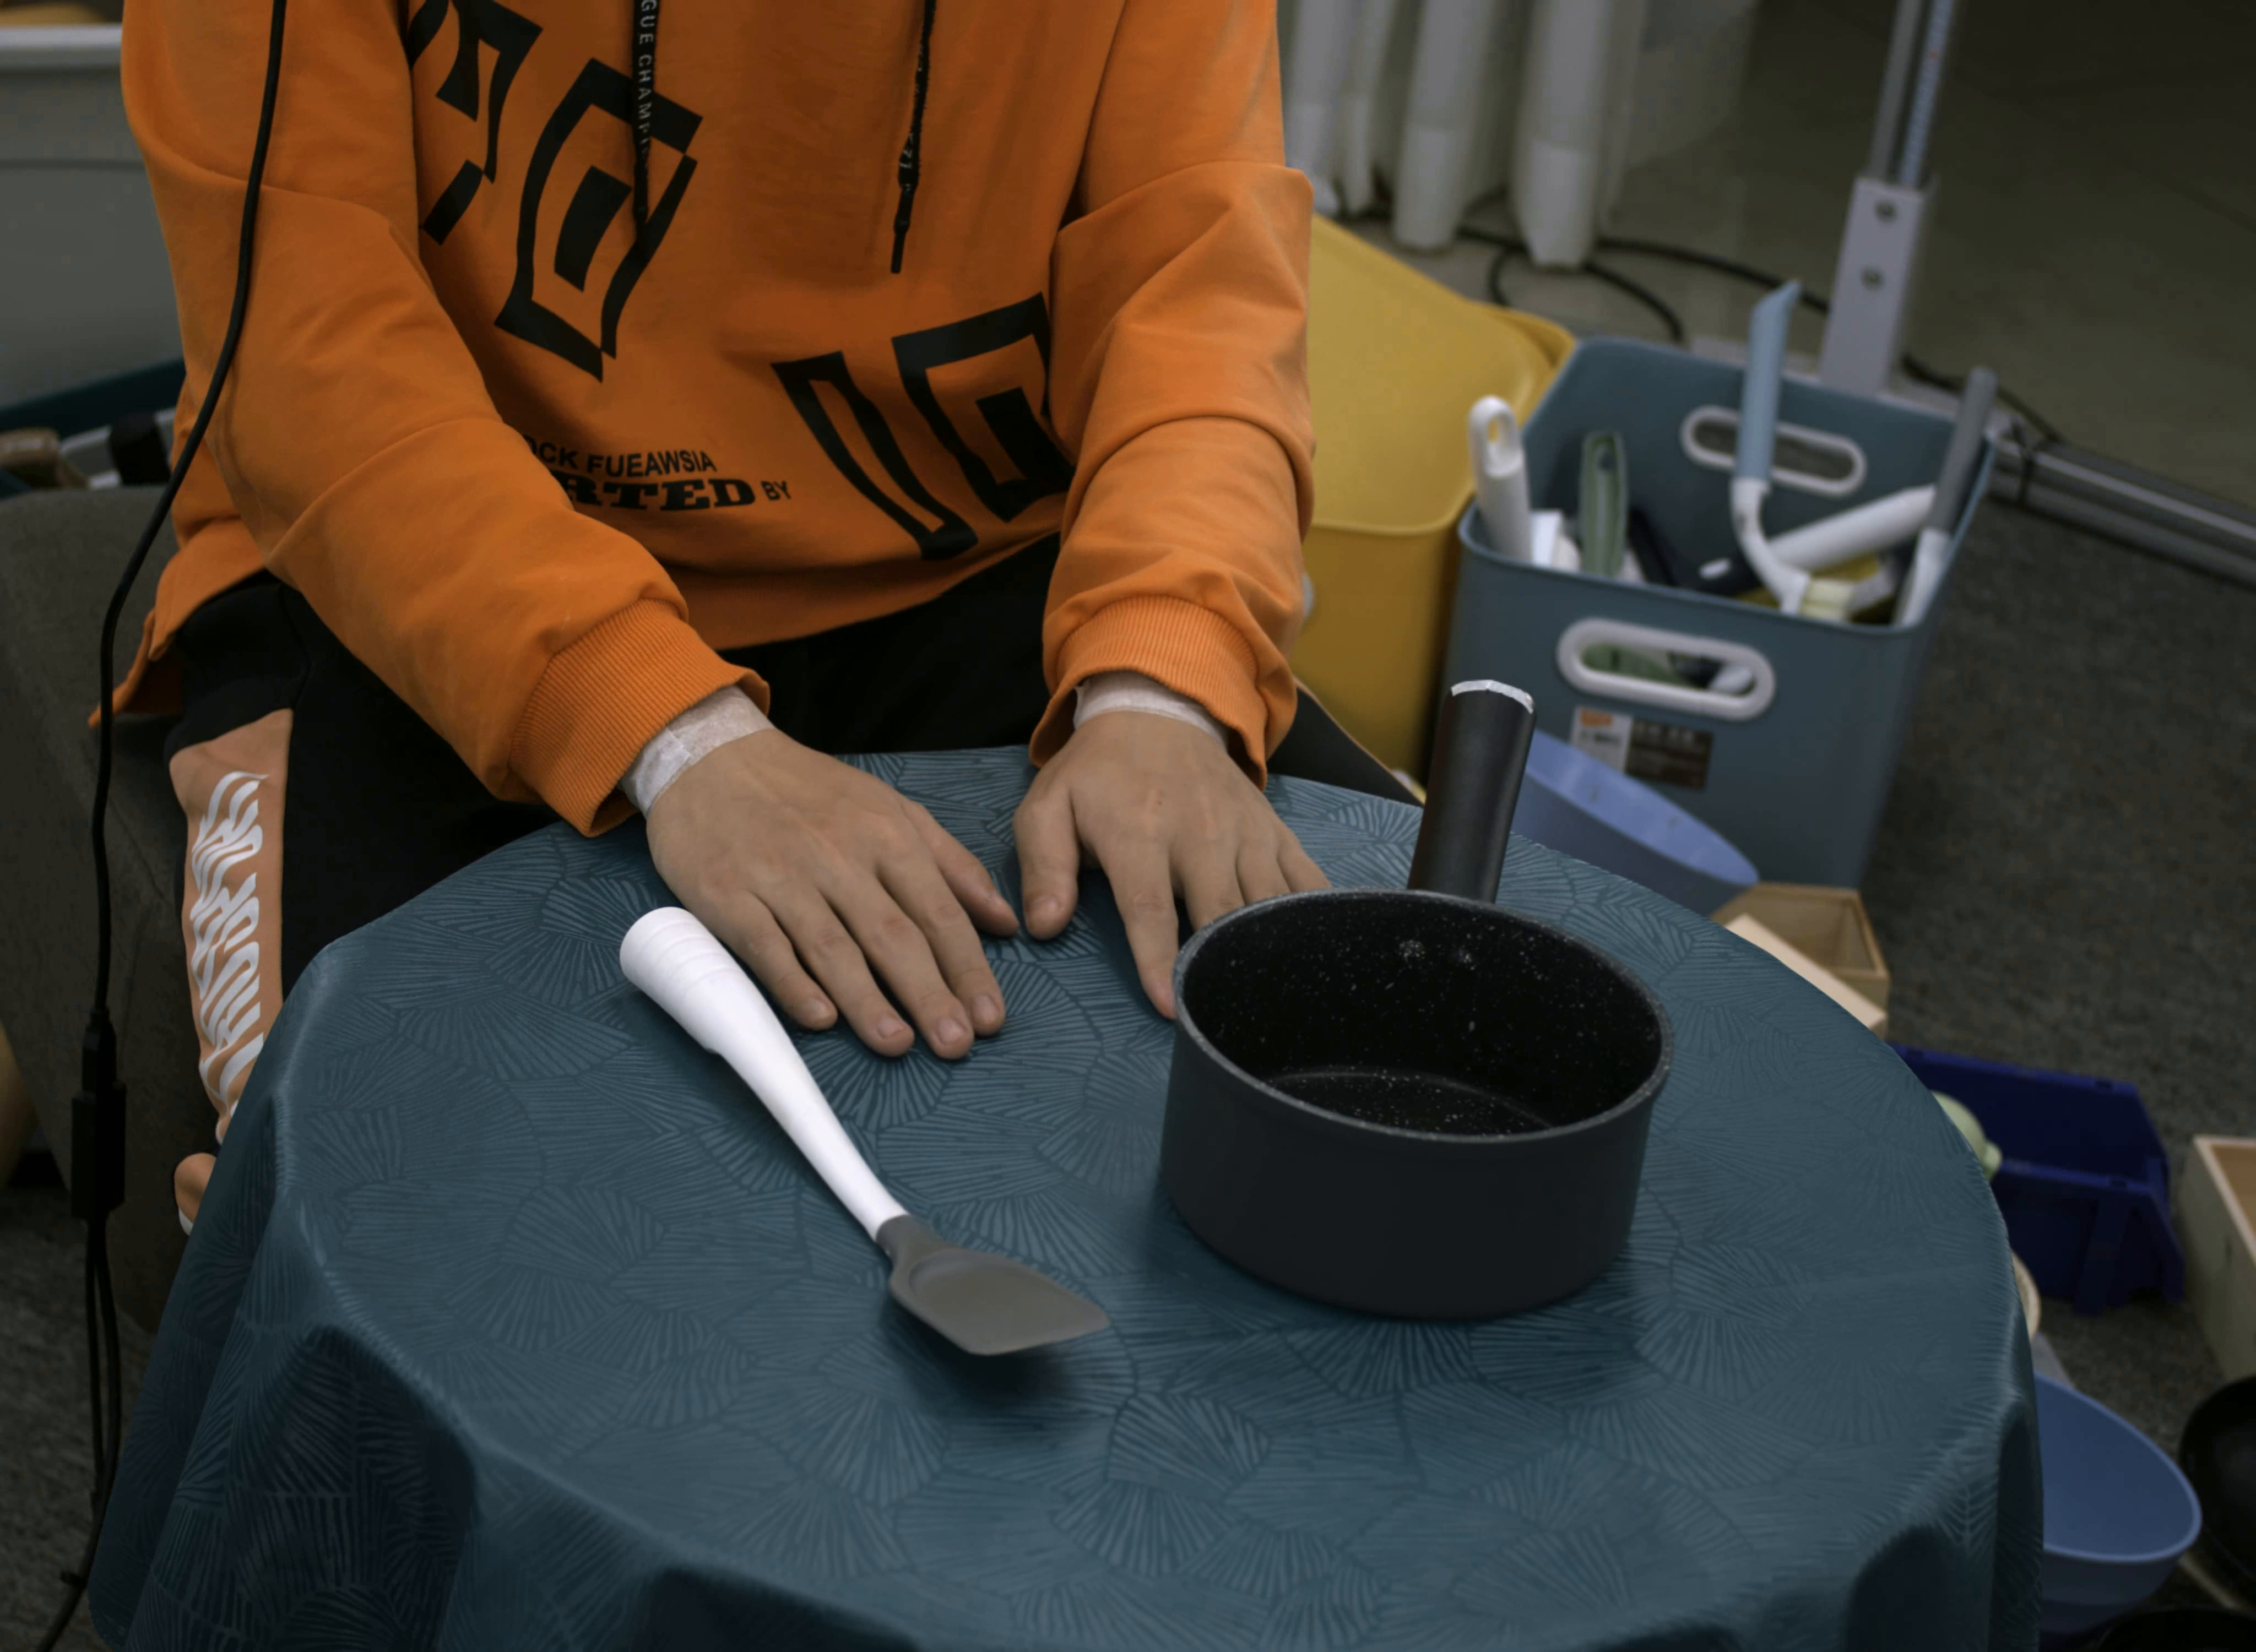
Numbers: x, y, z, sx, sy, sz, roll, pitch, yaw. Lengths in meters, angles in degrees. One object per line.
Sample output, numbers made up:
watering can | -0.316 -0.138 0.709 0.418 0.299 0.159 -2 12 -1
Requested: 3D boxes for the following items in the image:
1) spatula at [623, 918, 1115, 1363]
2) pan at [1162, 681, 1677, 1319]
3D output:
spatula | -0.094 0.109 1.776 0.058 0.032 0.290 -5 28 -30
pan | 0.110 0.056 1.867 0.172 0.086 0.330 11 29 7
